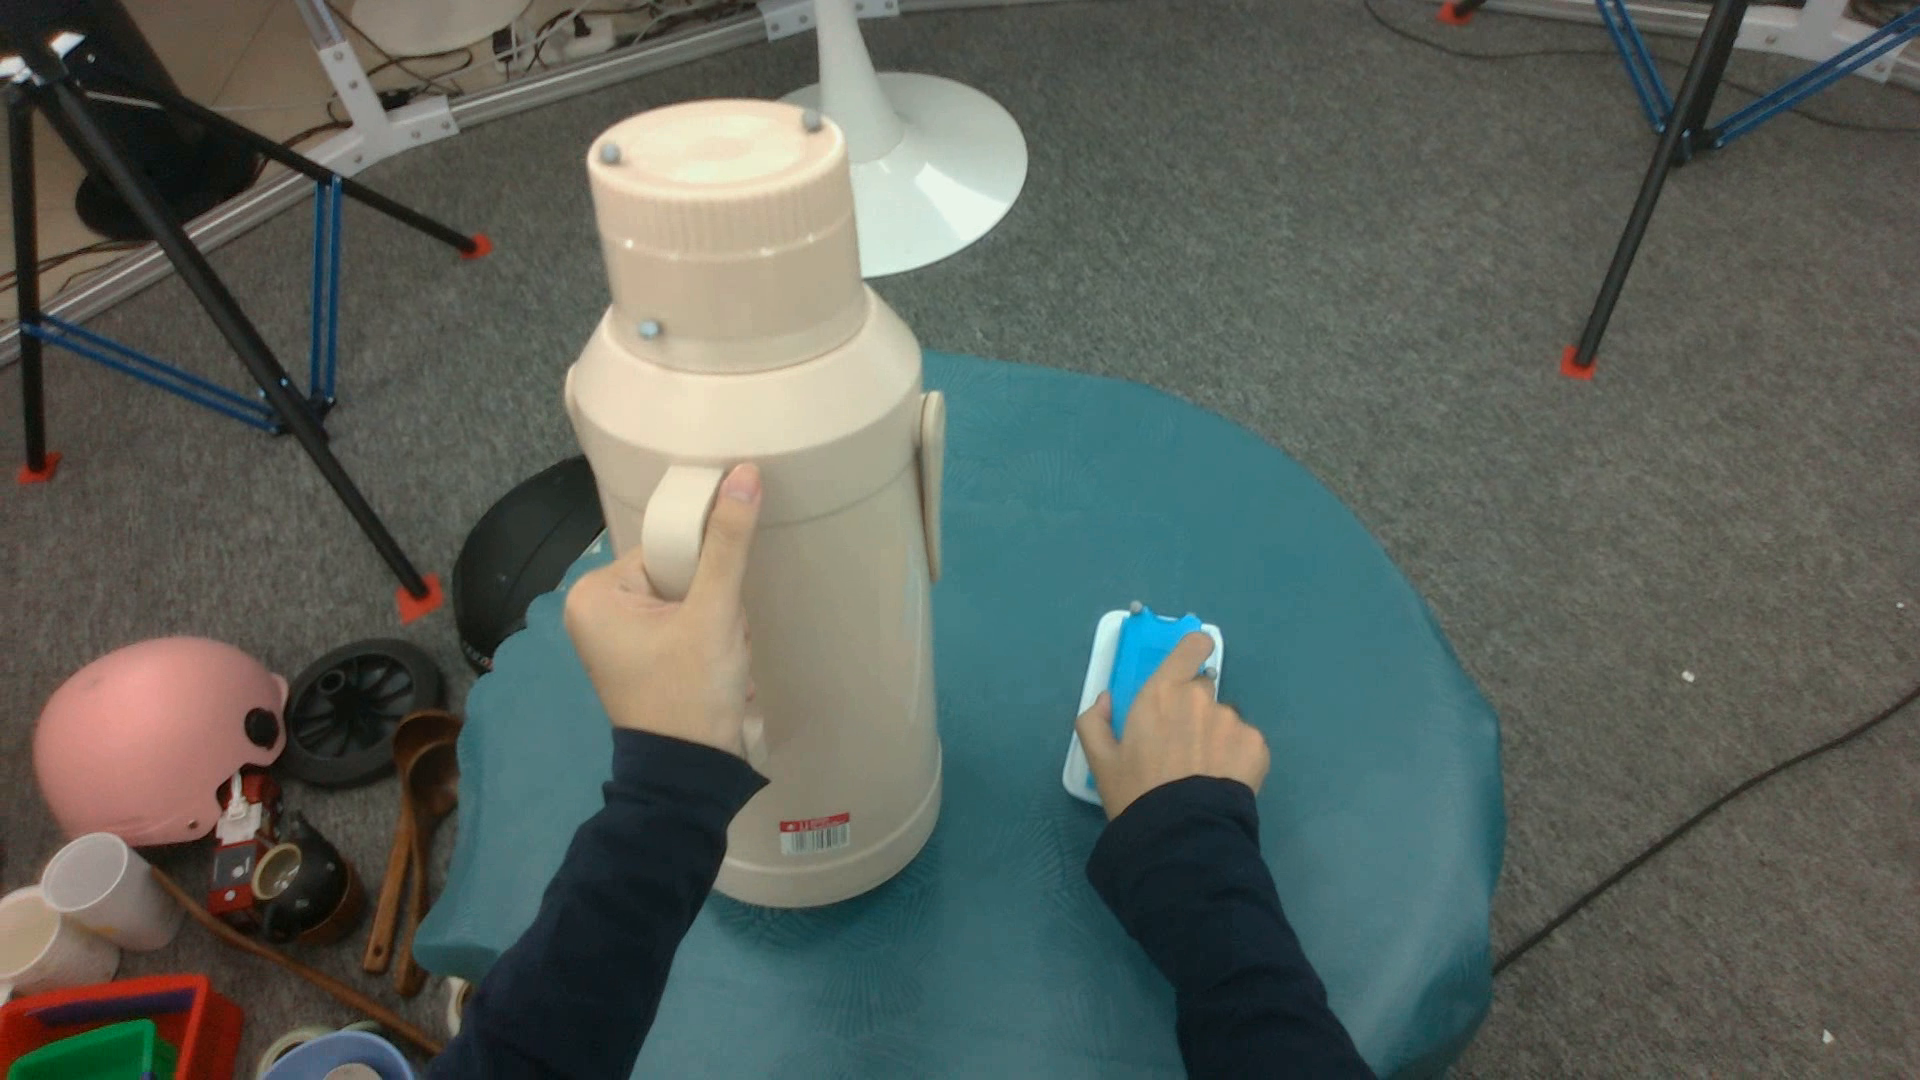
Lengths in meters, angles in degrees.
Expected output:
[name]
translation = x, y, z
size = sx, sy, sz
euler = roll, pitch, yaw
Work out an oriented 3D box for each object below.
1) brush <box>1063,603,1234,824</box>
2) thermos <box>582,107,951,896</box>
[brush]
translation = 0.115, 0.095, 0.818
size = 0.084, 0.055, 0.145
euler = 12, 50, 12
[thermos]
translation = -0.095, 0.004, 0.688
size = 0.175, 0.404, 0.208
euler = 7, 39, 7
